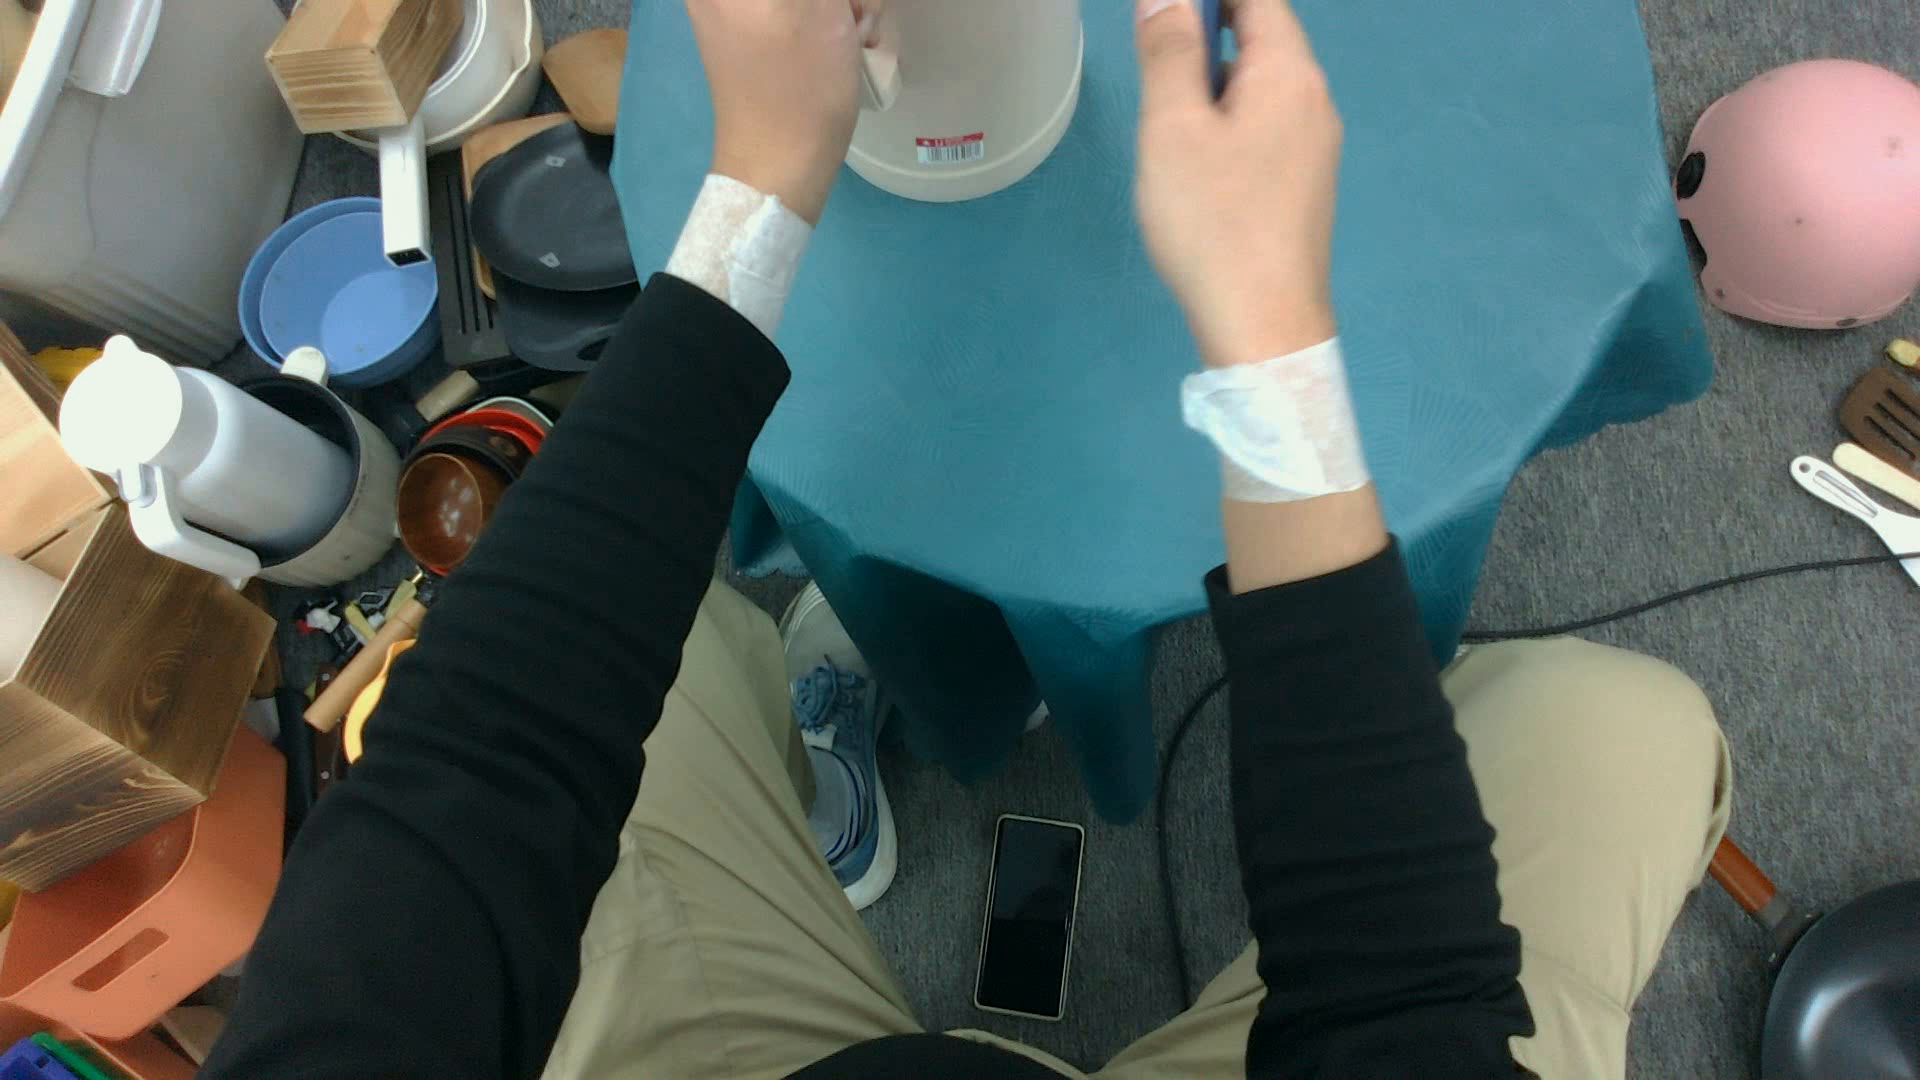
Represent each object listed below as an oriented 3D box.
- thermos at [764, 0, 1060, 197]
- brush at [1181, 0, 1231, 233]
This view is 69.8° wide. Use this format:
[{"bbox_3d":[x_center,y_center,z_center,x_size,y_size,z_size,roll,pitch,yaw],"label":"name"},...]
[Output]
[{"bbox_3d":[-0.035,-0.305,0.618,0.175,0.405,0.207,16,78,5],"label":"thermos"},{"bbox_3d":[0.103,-0.252,0.497,0.095,0.033,0.273,-7,91,7],"label":"brush"}]
